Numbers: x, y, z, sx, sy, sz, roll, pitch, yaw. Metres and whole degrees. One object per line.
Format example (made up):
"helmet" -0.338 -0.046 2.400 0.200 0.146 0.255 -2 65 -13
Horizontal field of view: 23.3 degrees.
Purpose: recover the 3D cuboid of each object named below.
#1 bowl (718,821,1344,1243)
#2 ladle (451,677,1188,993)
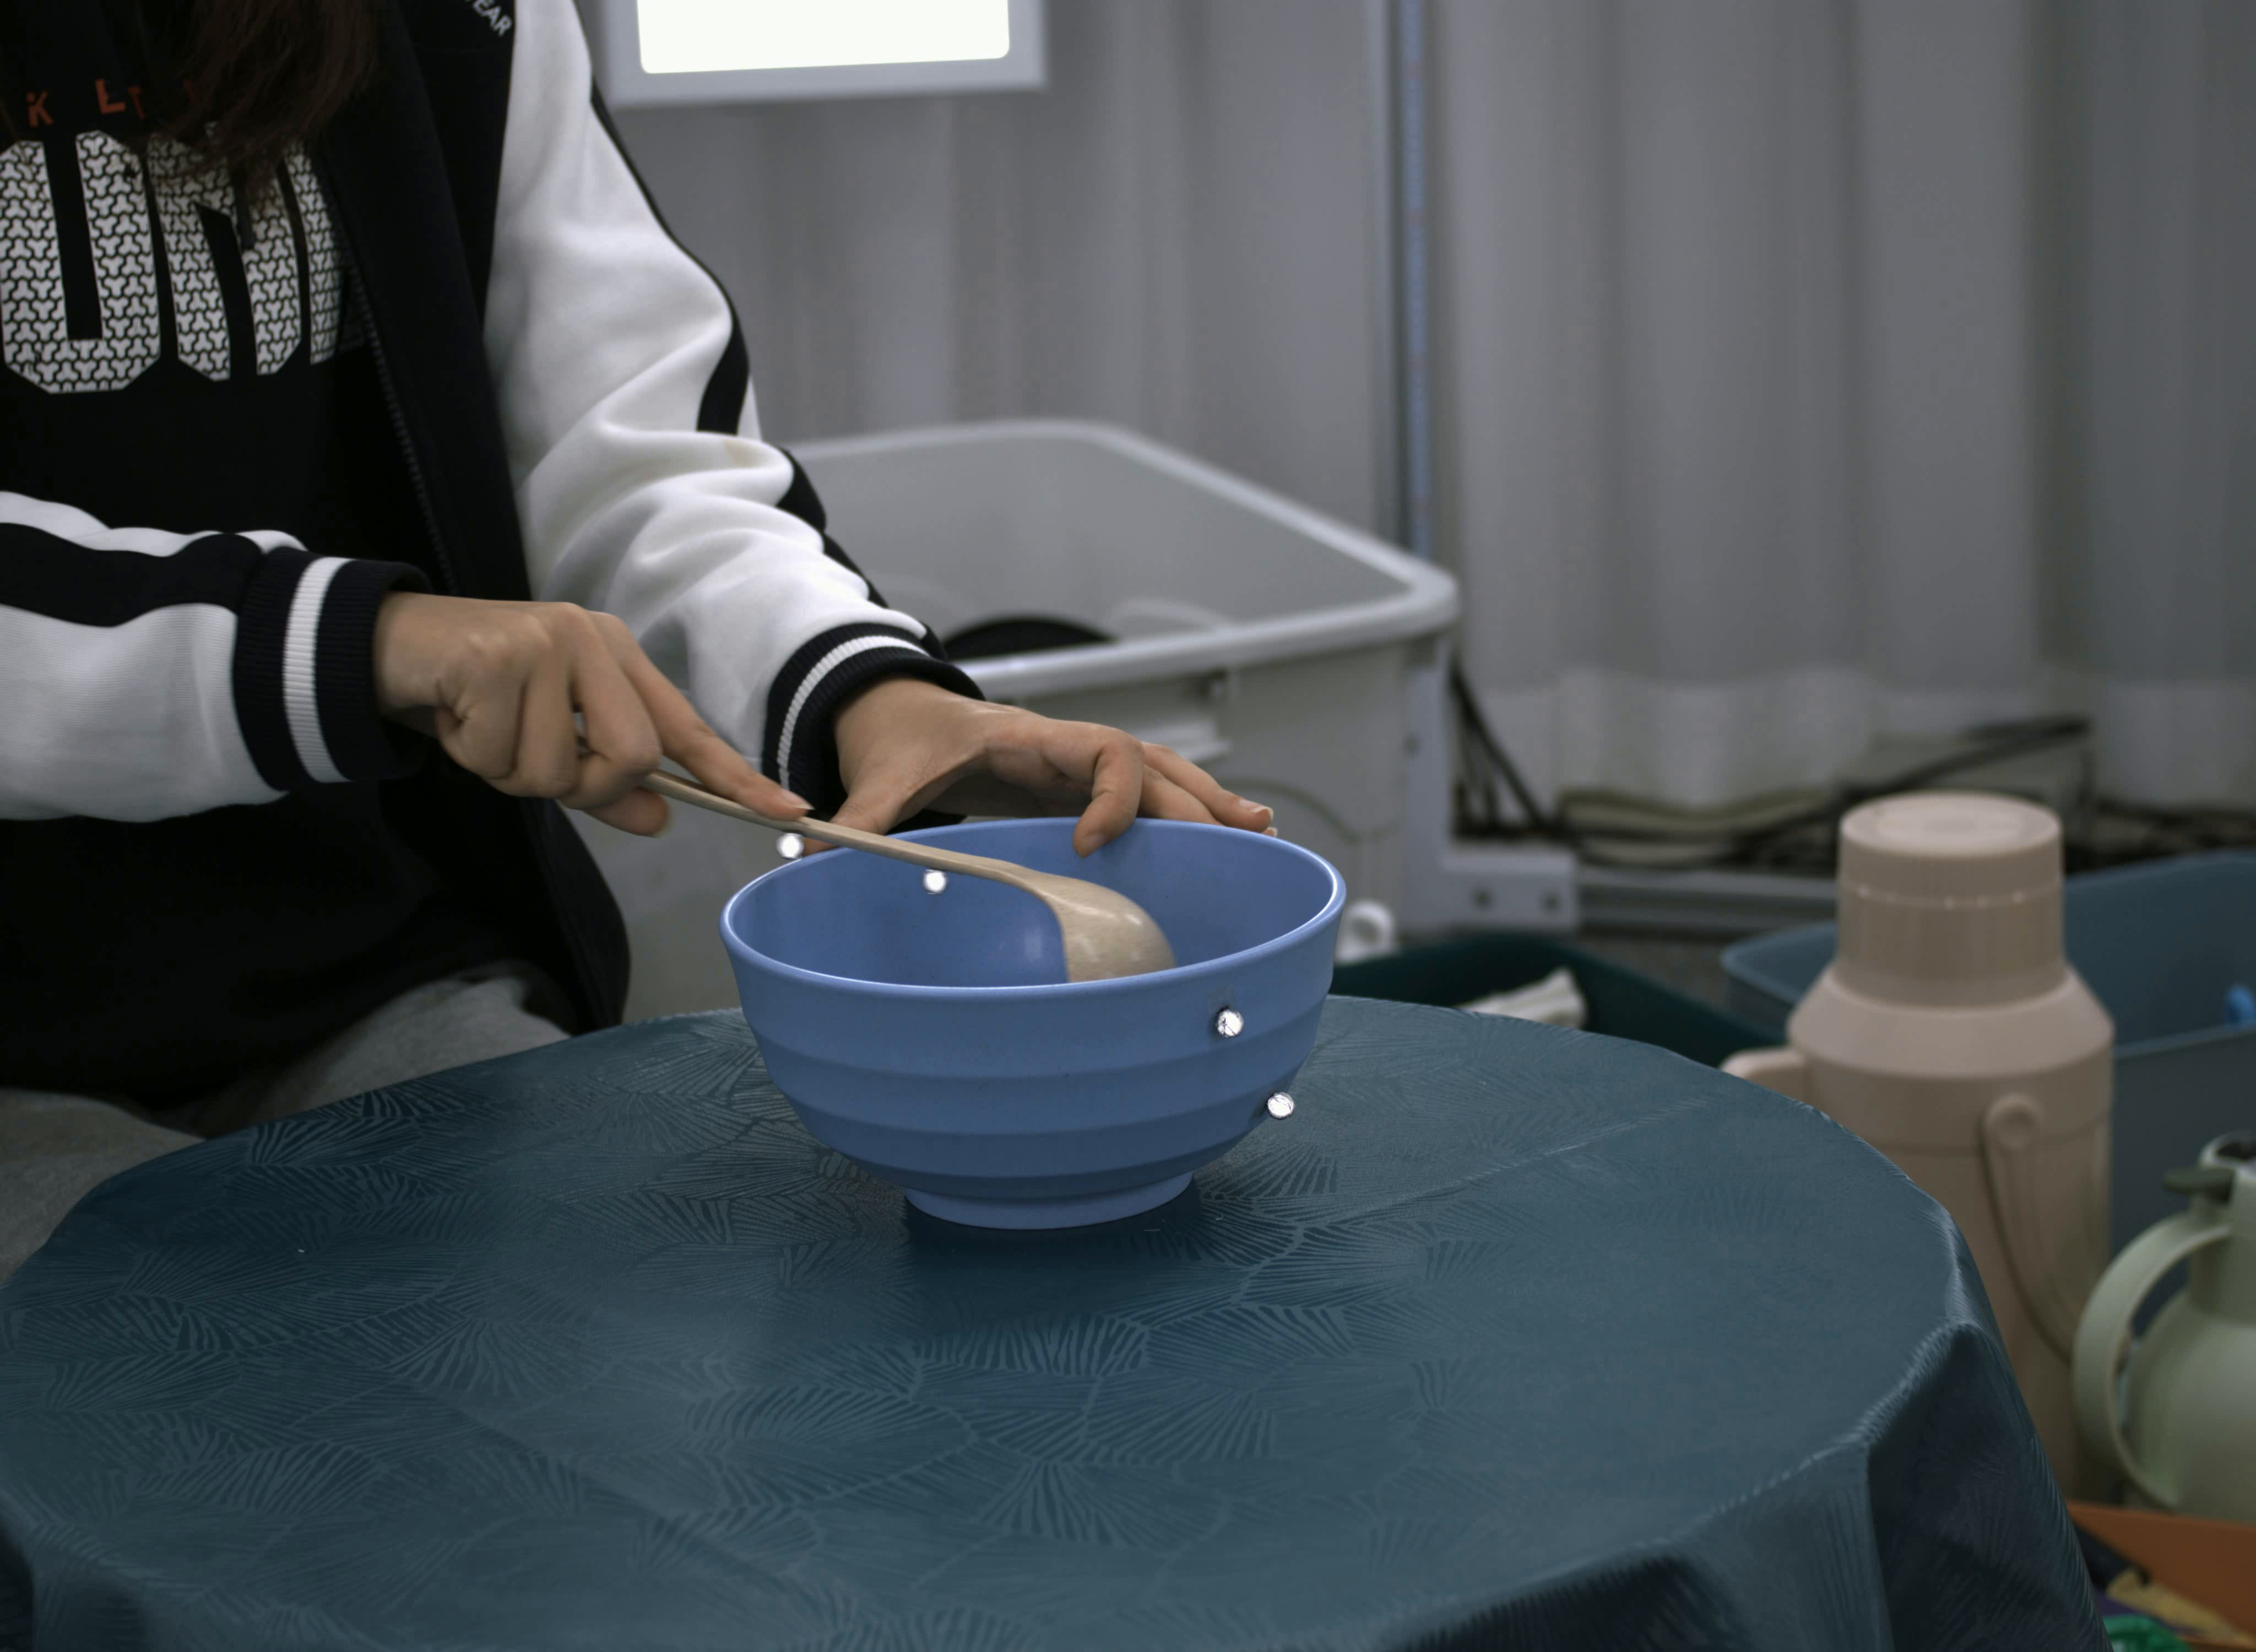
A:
"bowl" -0.027 0.071 1.715 0.196 0.095 0.198 -4 15 1
"ladle" -0.105 0.026 1.746 0.254 0.072 0.072 18 10 0
